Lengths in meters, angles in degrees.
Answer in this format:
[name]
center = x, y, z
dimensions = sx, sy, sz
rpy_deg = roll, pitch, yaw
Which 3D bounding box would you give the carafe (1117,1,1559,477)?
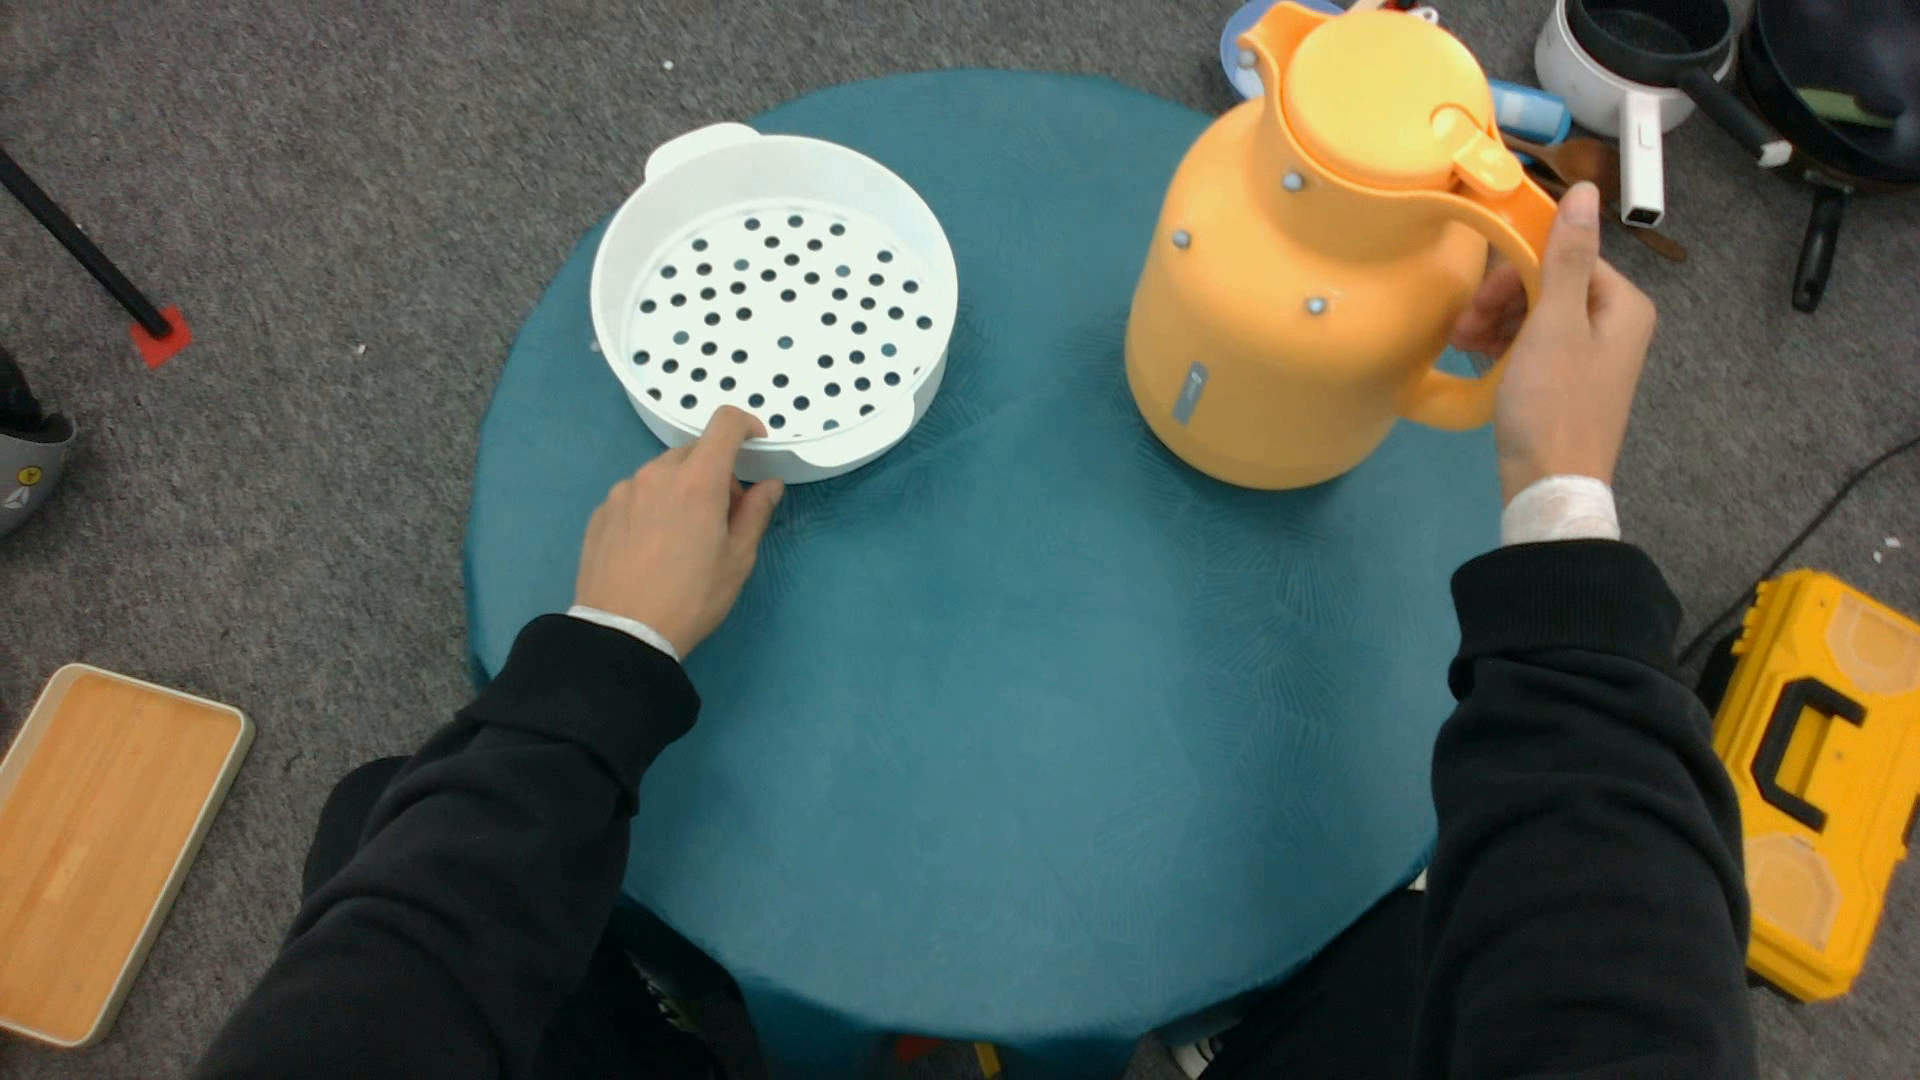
[carafe]
center = 0.185, -0.136, 0.702
dimensions = 0.164, 0.259, 0.202
rpy_deg = -41, 73, -15

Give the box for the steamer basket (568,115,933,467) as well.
[steamer basket]
center = -0.117, -0.138, 0.791
dimensions = 0.202, 0.069, 0.231
rpy_deg = -25, 70, -15
